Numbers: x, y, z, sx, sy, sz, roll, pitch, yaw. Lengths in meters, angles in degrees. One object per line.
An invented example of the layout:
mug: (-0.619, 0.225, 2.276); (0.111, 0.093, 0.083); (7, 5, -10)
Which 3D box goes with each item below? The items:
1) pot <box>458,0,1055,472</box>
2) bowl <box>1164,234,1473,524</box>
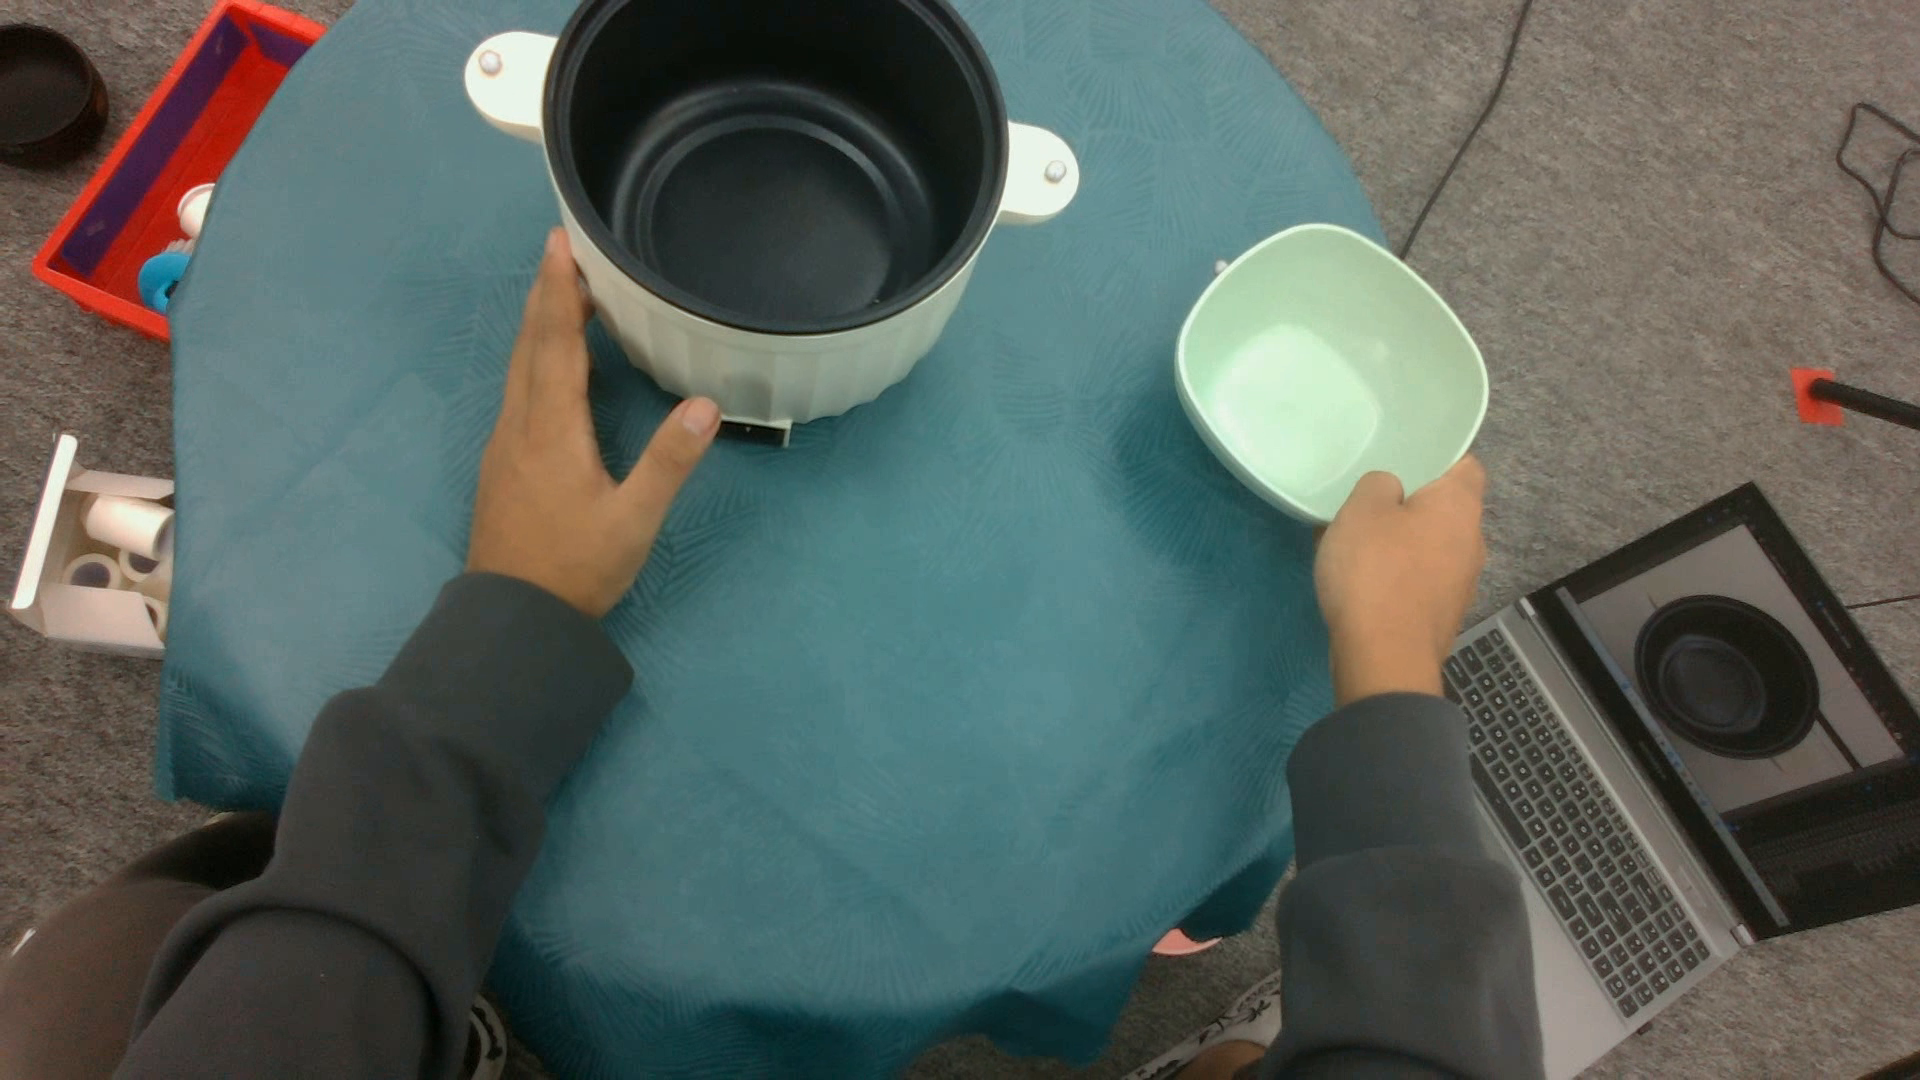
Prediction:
pot: (-0.089, -0.139, 0.619); (0.240, 0.142, 0.191); (3, 75, -10)
bowl: (0.168, -0.071, 0.676); (0.151, 0.058, 0.152); (2, 69, -6)
